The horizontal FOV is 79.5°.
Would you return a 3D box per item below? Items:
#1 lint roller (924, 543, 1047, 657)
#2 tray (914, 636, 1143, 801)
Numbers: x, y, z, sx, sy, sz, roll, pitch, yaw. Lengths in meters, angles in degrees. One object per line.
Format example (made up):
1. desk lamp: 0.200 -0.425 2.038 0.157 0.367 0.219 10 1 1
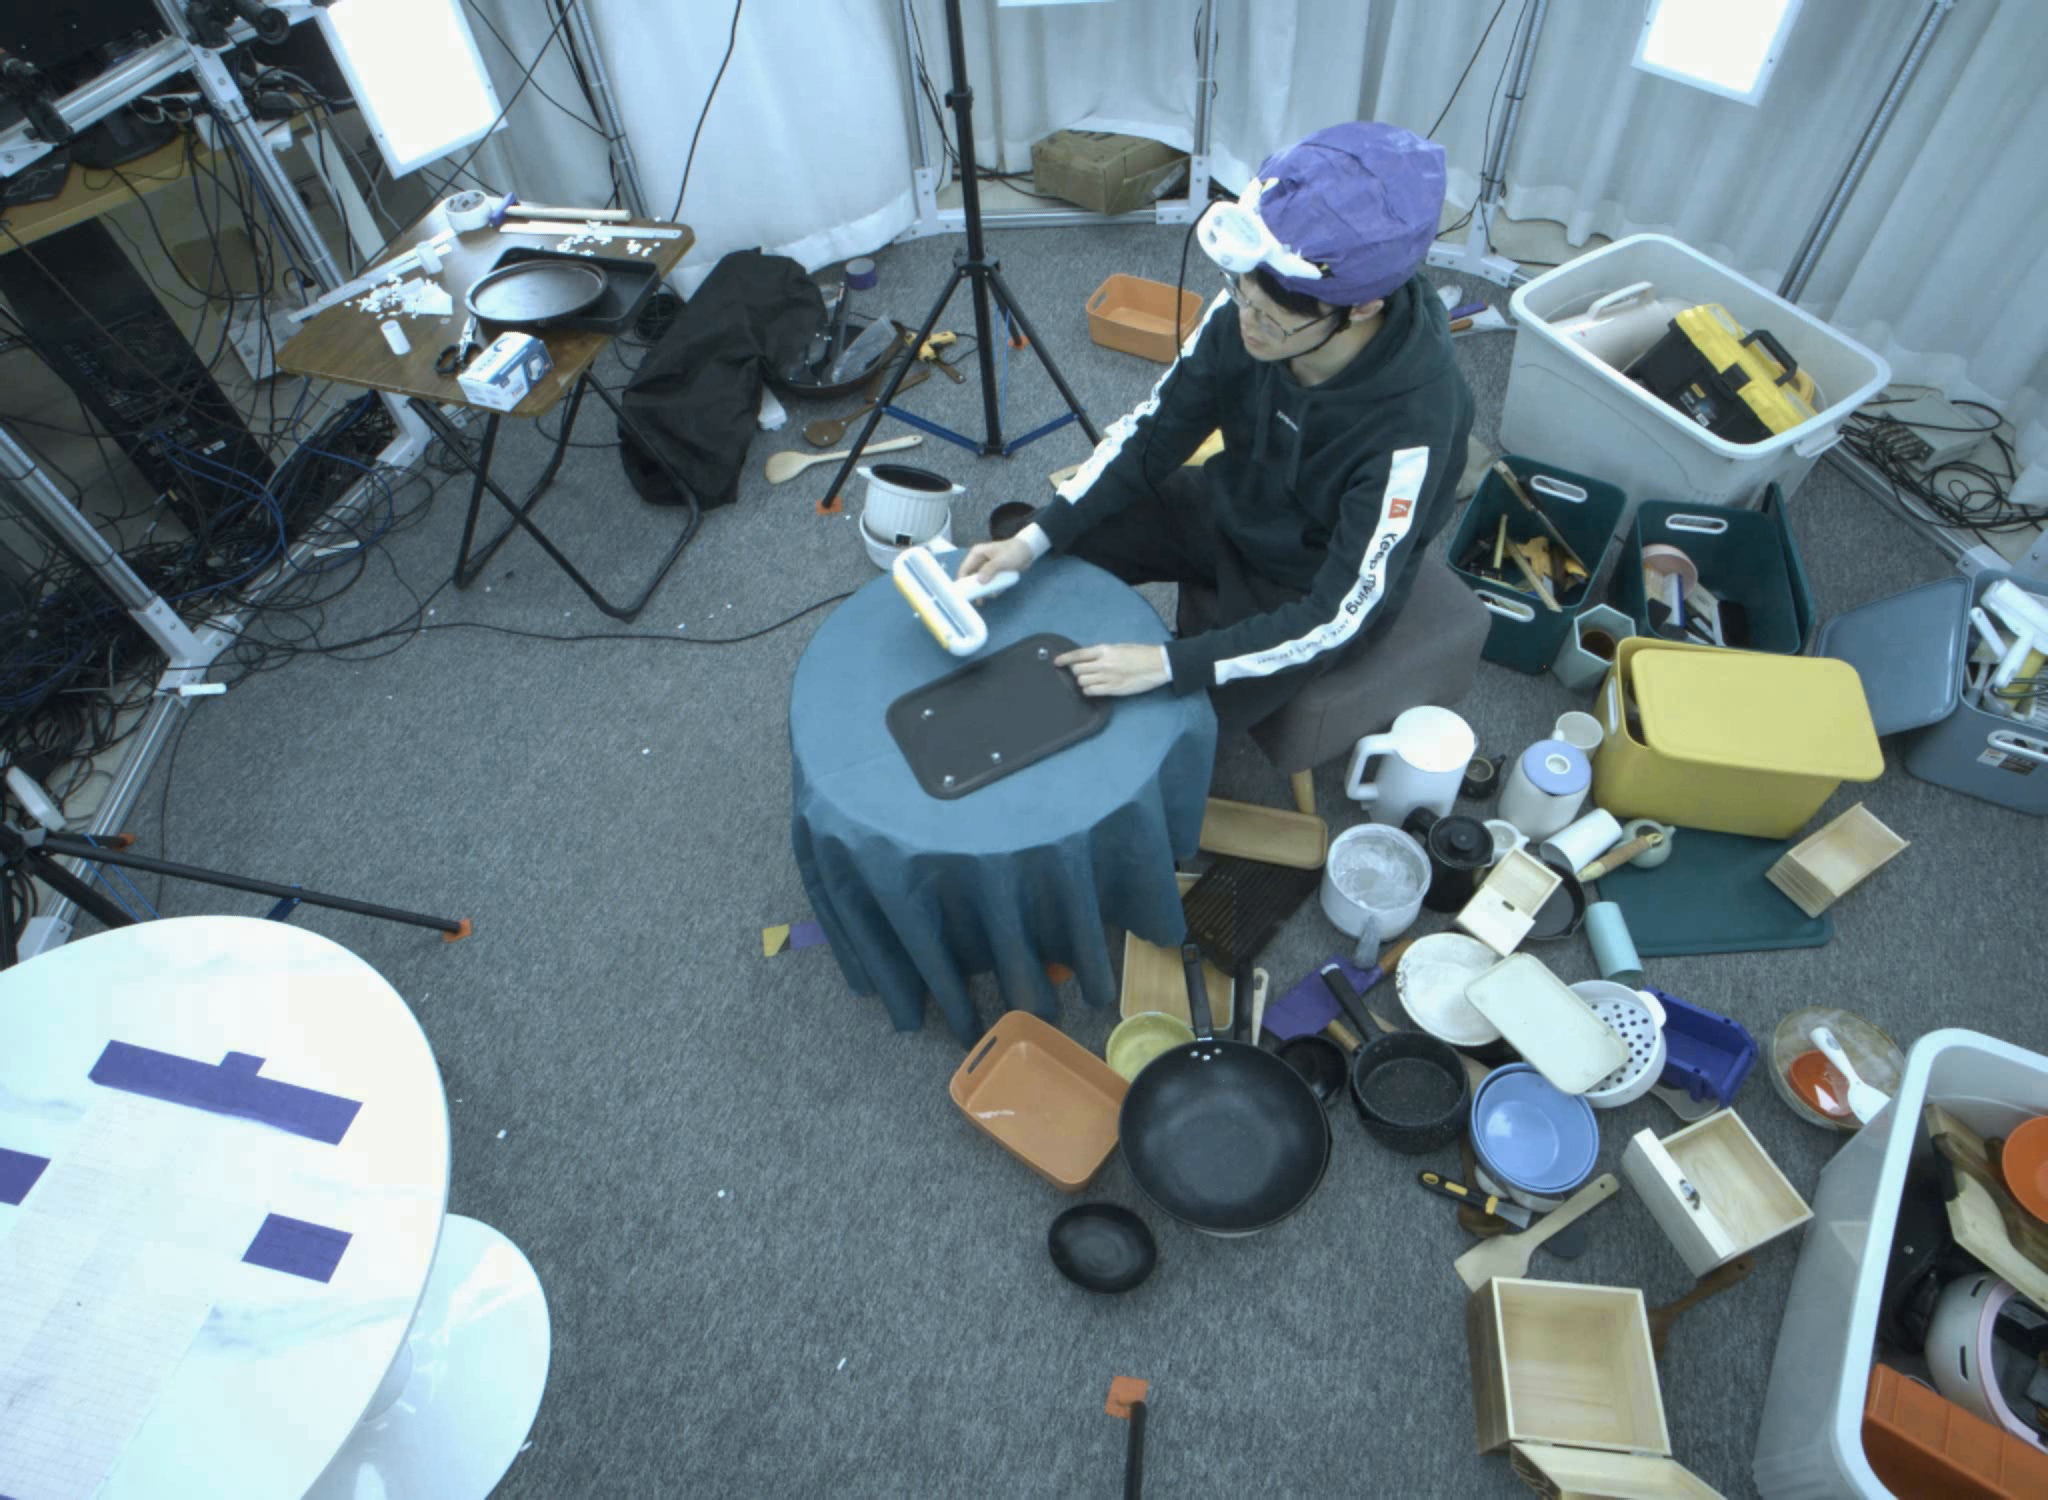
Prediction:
1. lint roller: -0.041 -0.237 1.889 0.195 0.074 0.190 -19 68 -33
2. tray: 0.011 -0.056 1.811 0.327 0.010 0.207 -24 58 -11
